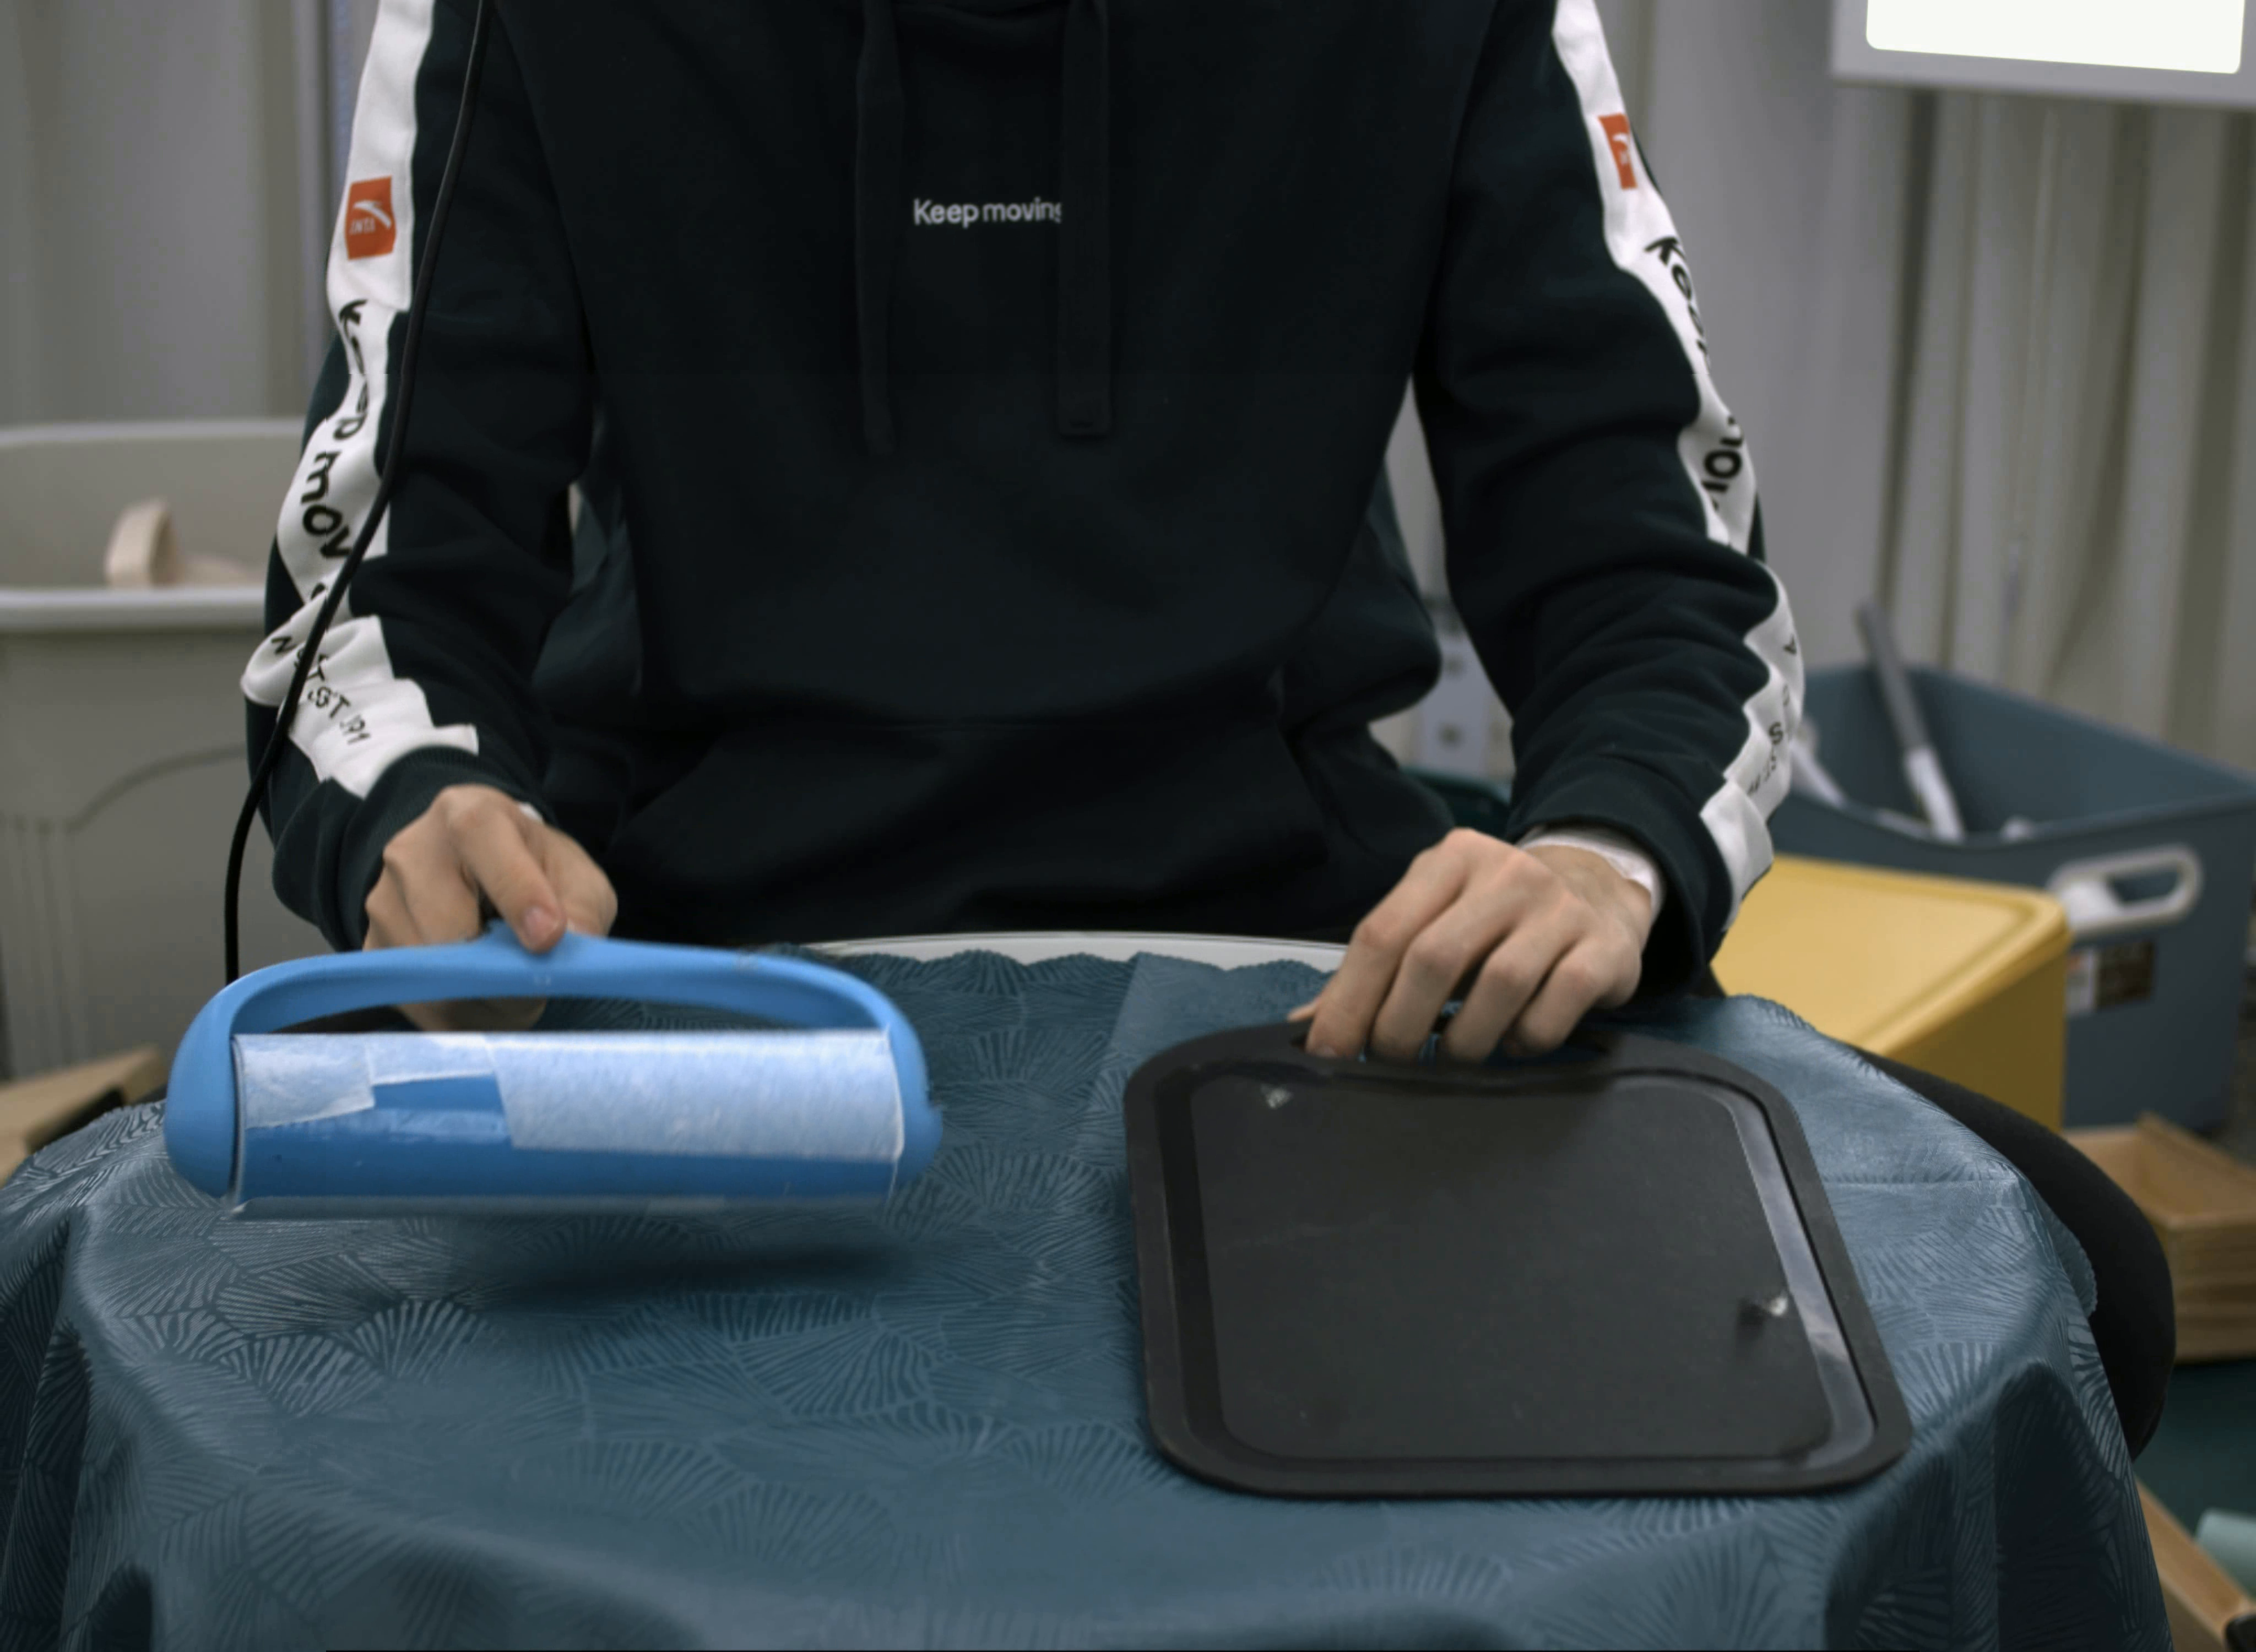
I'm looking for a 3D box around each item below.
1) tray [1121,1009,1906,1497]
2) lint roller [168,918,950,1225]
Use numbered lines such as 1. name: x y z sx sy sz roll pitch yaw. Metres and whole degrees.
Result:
1. tray: 0.104 0.116 1.537 0.210 0.010 0.323 1 21 -2
2. lint roller: -0.181 0.059 1.574 0.229 0.068 0.178 -3 25 -19
